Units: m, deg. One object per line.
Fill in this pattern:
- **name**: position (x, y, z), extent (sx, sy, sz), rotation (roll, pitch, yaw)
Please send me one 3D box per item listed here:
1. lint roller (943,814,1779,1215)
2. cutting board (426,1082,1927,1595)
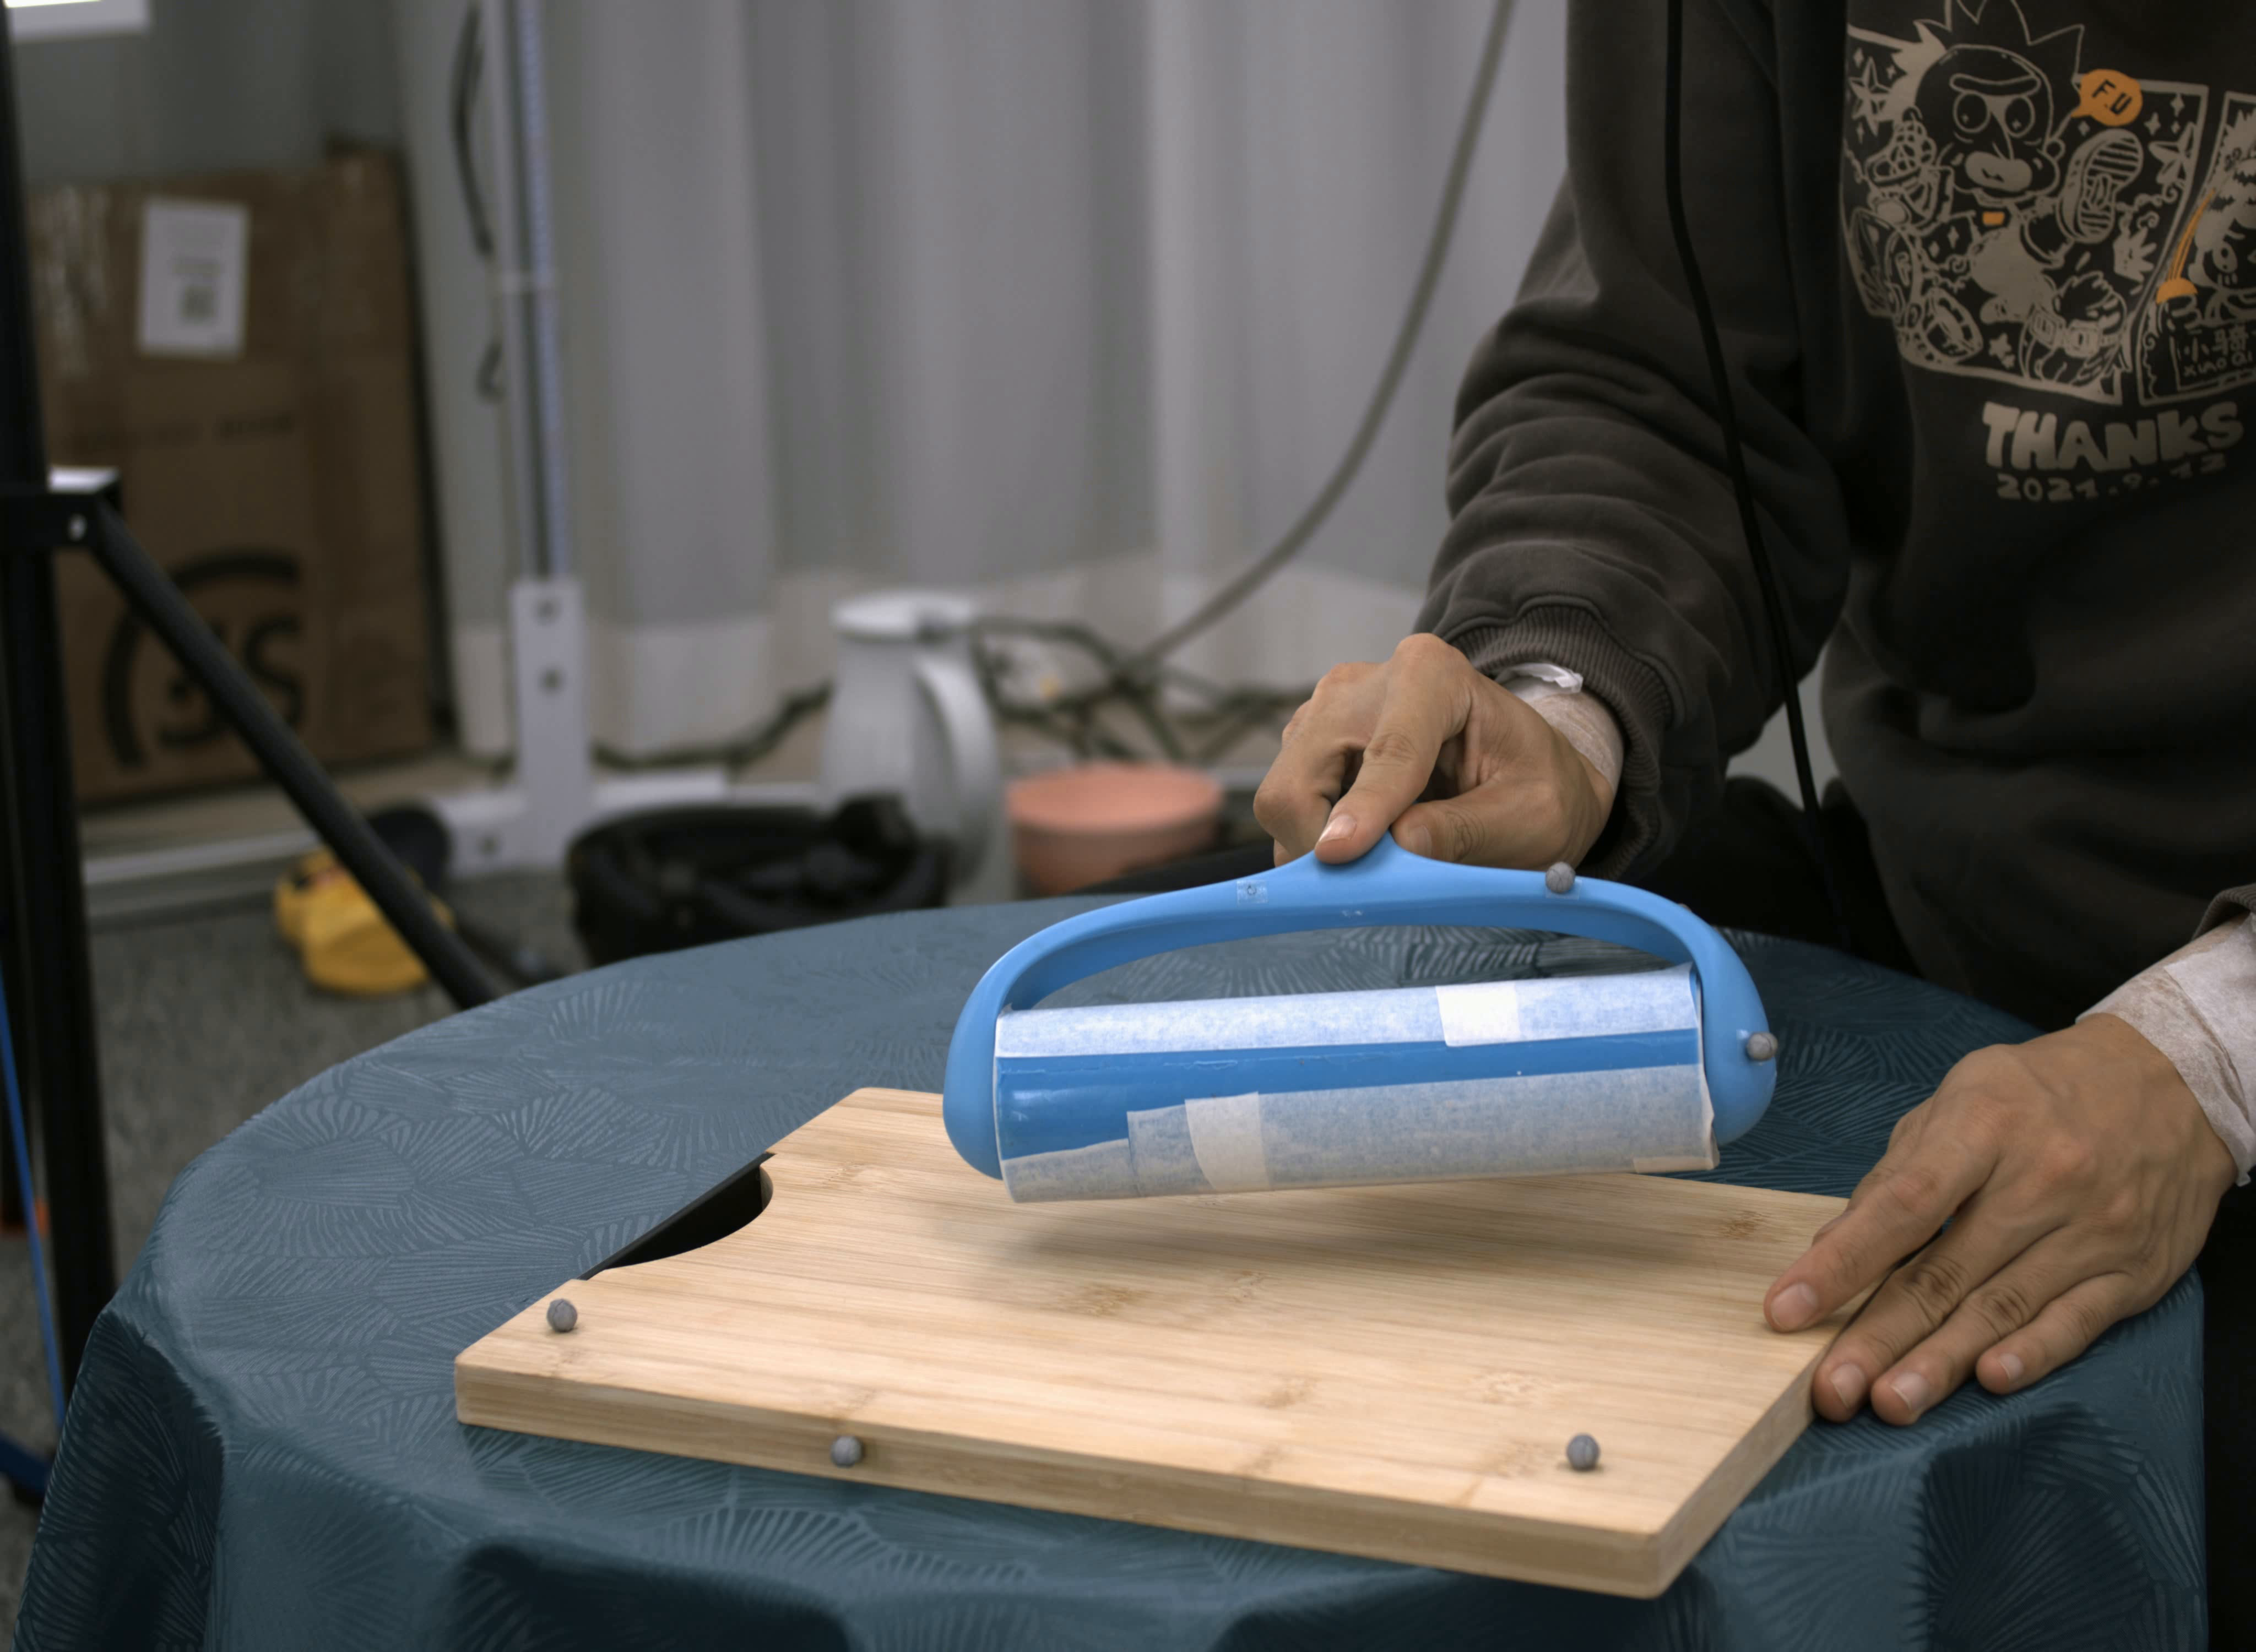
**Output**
- **lint roller**: position (0.063, 0.037, 1.493), extent (0.229, 0.067, 0.182), rotation (-7, 36, 7)
- **cutting board**: position (0.018, 0.133, 1.443), extent (0.354, 0.023, 0.247), rotation (5, 17, 25)
